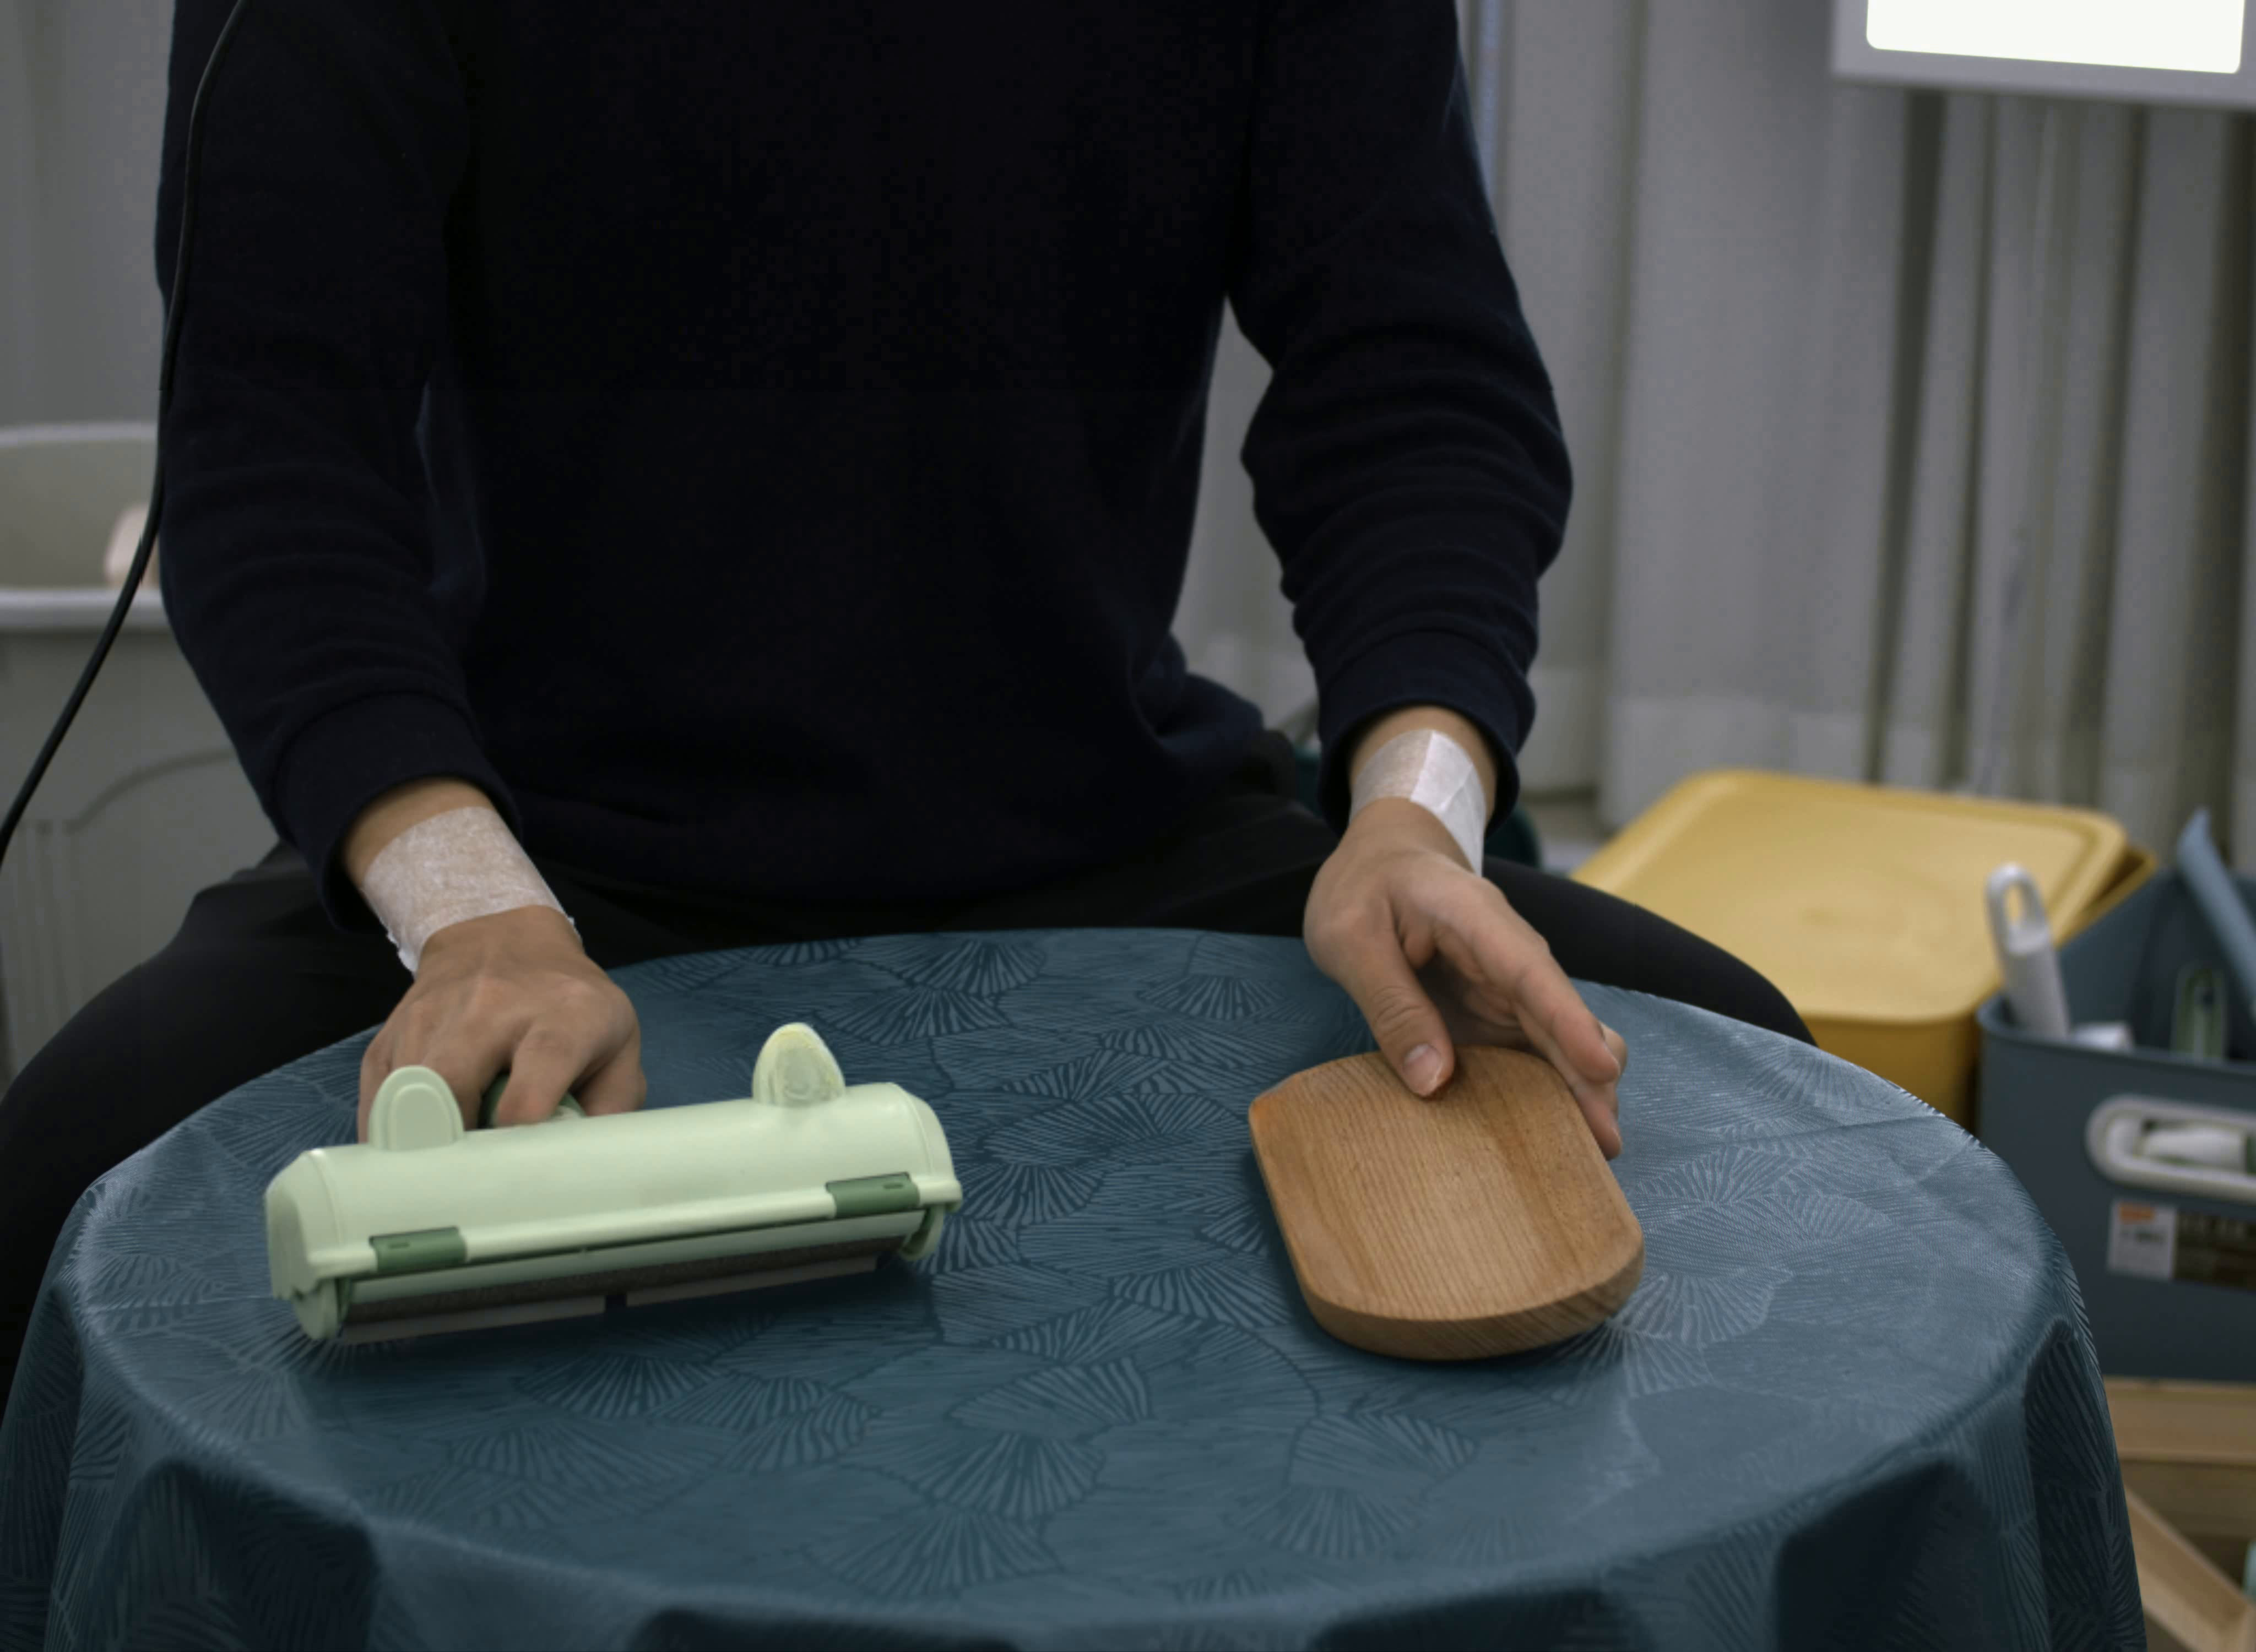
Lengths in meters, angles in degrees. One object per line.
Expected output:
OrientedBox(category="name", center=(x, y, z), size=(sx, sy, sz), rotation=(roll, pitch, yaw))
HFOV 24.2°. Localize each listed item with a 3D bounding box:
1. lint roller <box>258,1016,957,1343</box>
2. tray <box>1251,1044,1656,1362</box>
OrientedBox(category="lint roller", center=(-0.171, 0.080, 1.555), size=(0.199, 0.083, 0.181), rotation=(-6, 27, -24))
OrientedBox(category="tray", center=(0.096, 0.110, 1.580), size=(0.101, 0.020, 0.229), rotation=(-11, 18, -3))
